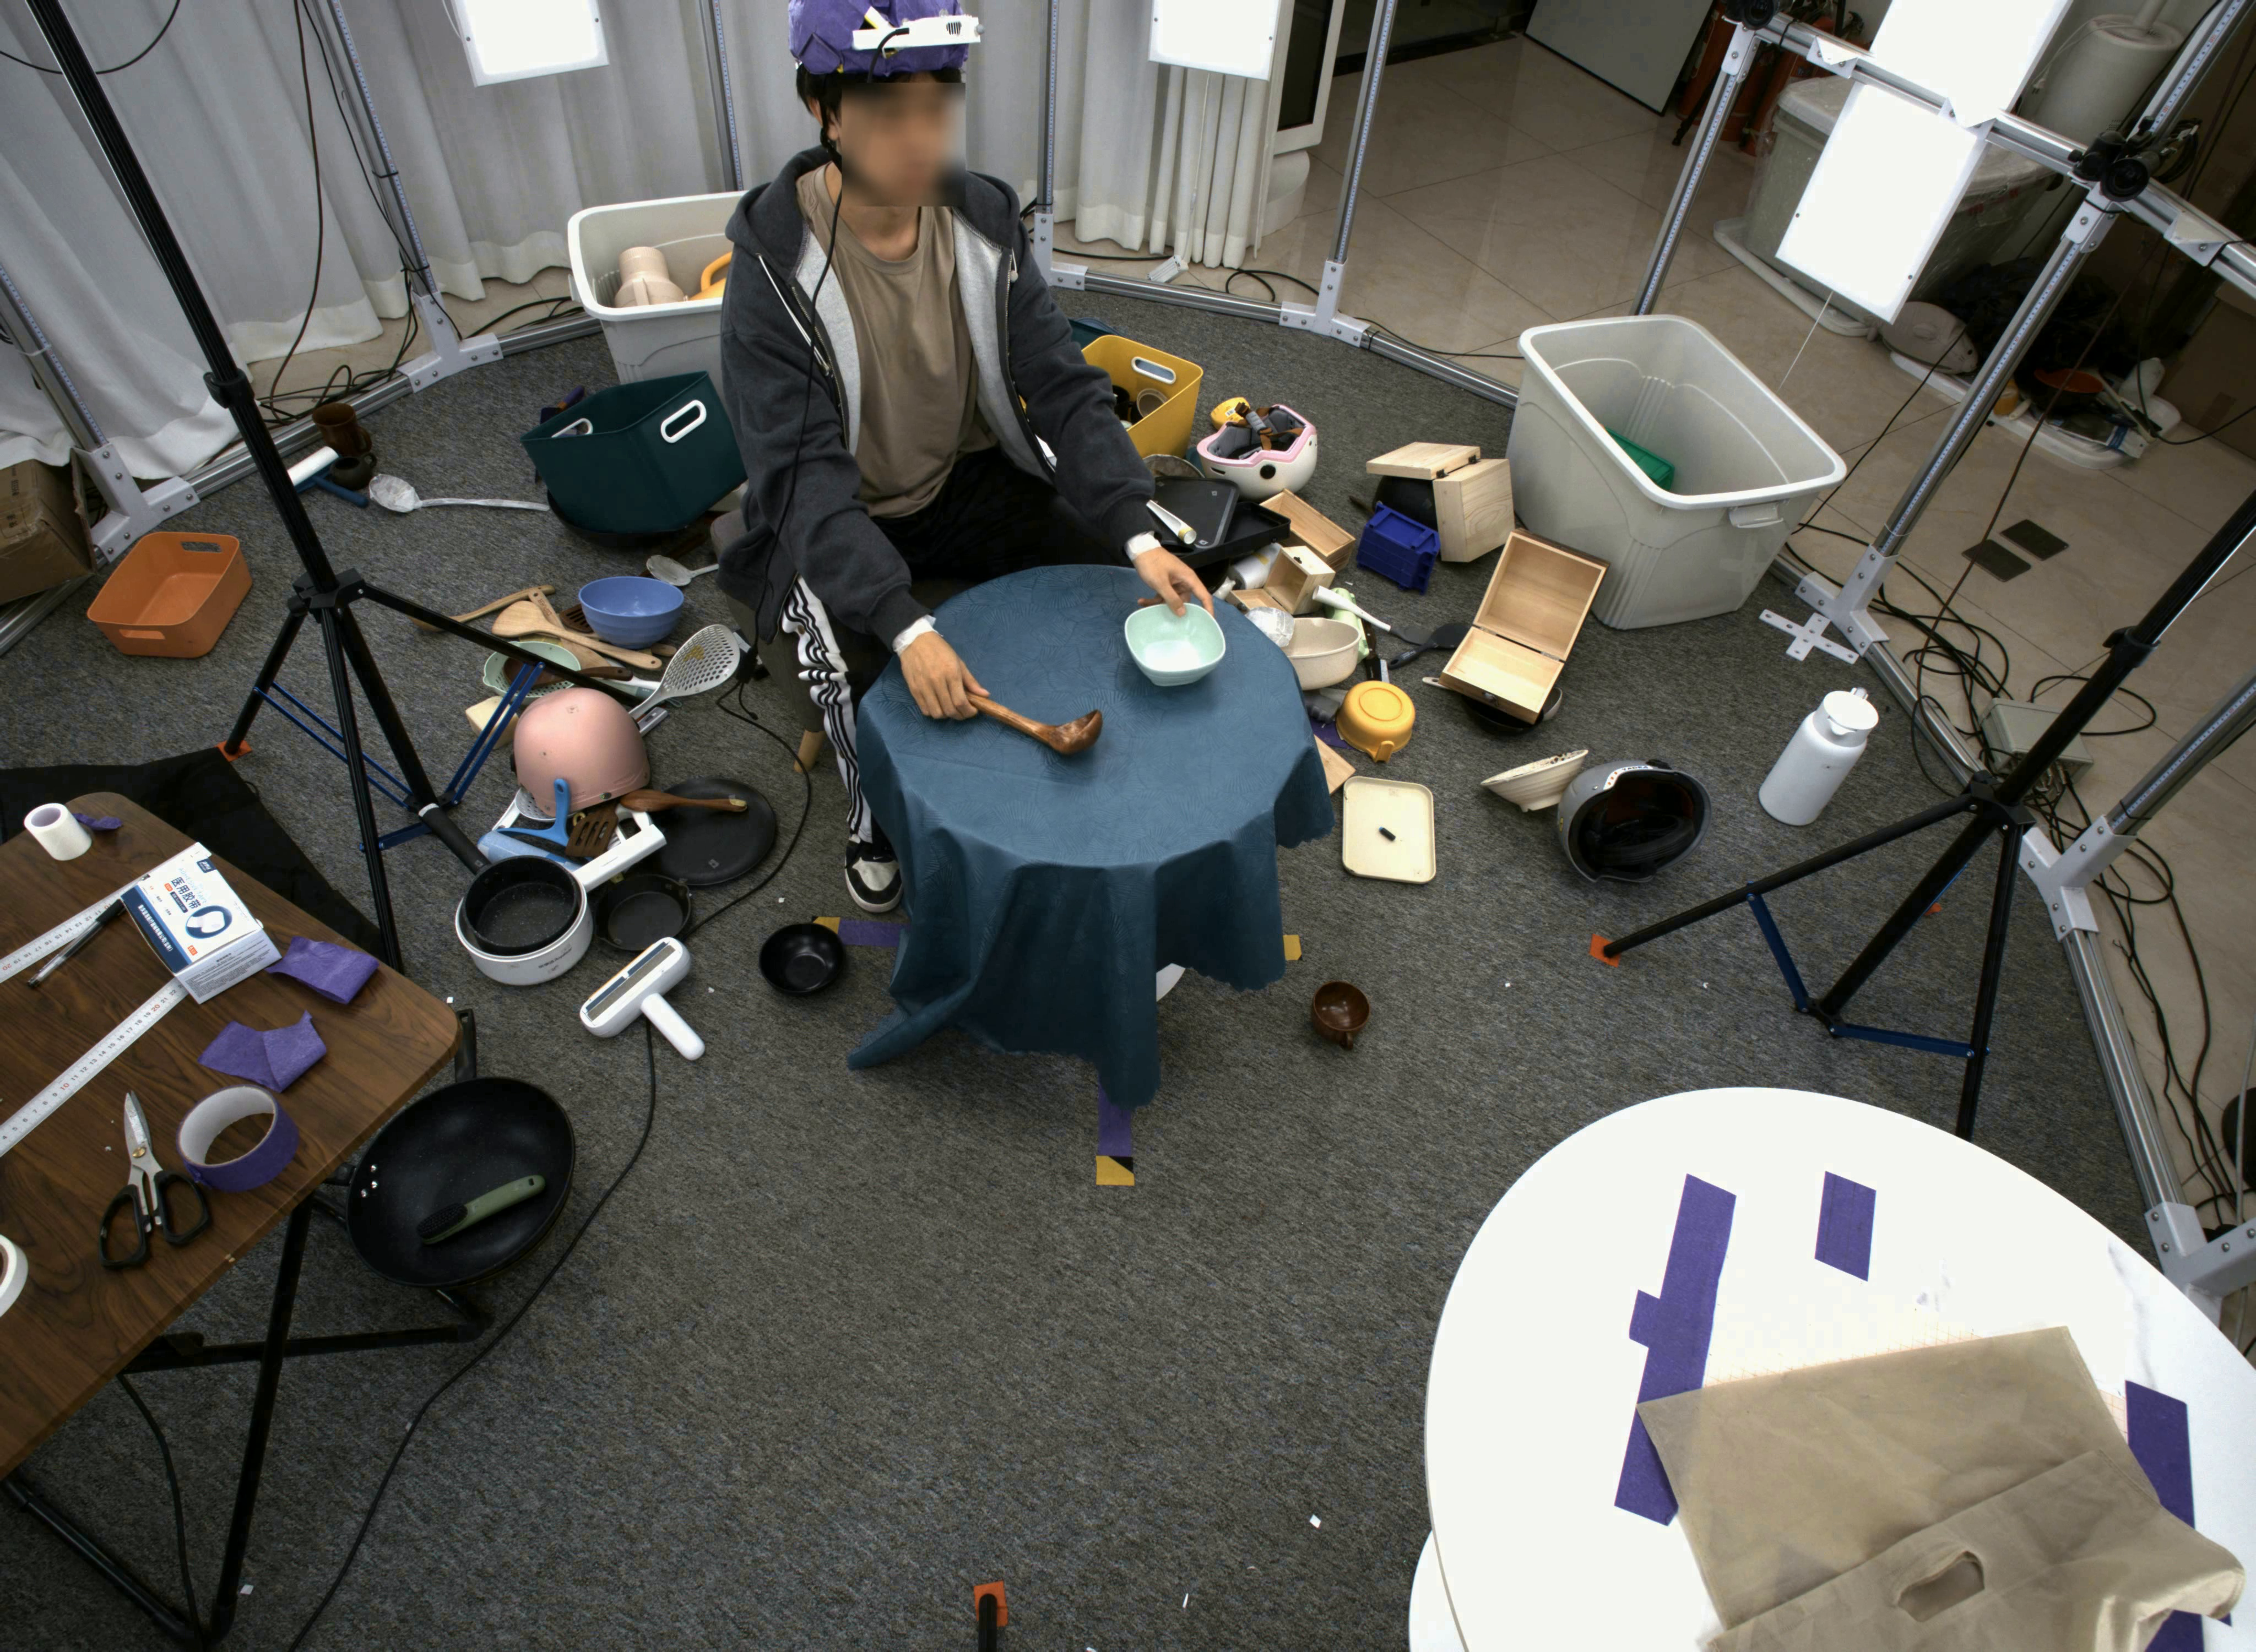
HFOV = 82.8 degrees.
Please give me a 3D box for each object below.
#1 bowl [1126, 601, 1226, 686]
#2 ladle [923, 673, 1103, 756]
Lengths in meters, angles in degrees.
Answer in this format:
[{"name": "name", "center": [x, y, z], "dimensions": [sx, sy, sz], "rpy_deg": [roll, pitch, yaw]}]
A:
[{"name": "bowl", "center": [0.066, -0.254, 1.852], "dimensions": [0.151, 0.057, 0.155], "rpy_deg": [2, 53, -3]}, {"name": "ladle", "center": [-0.161, -0.170, 1.748], "dimensions": [0.276, 0.075, 0.083], "rpy_deg": [26, 46, 15]}]
